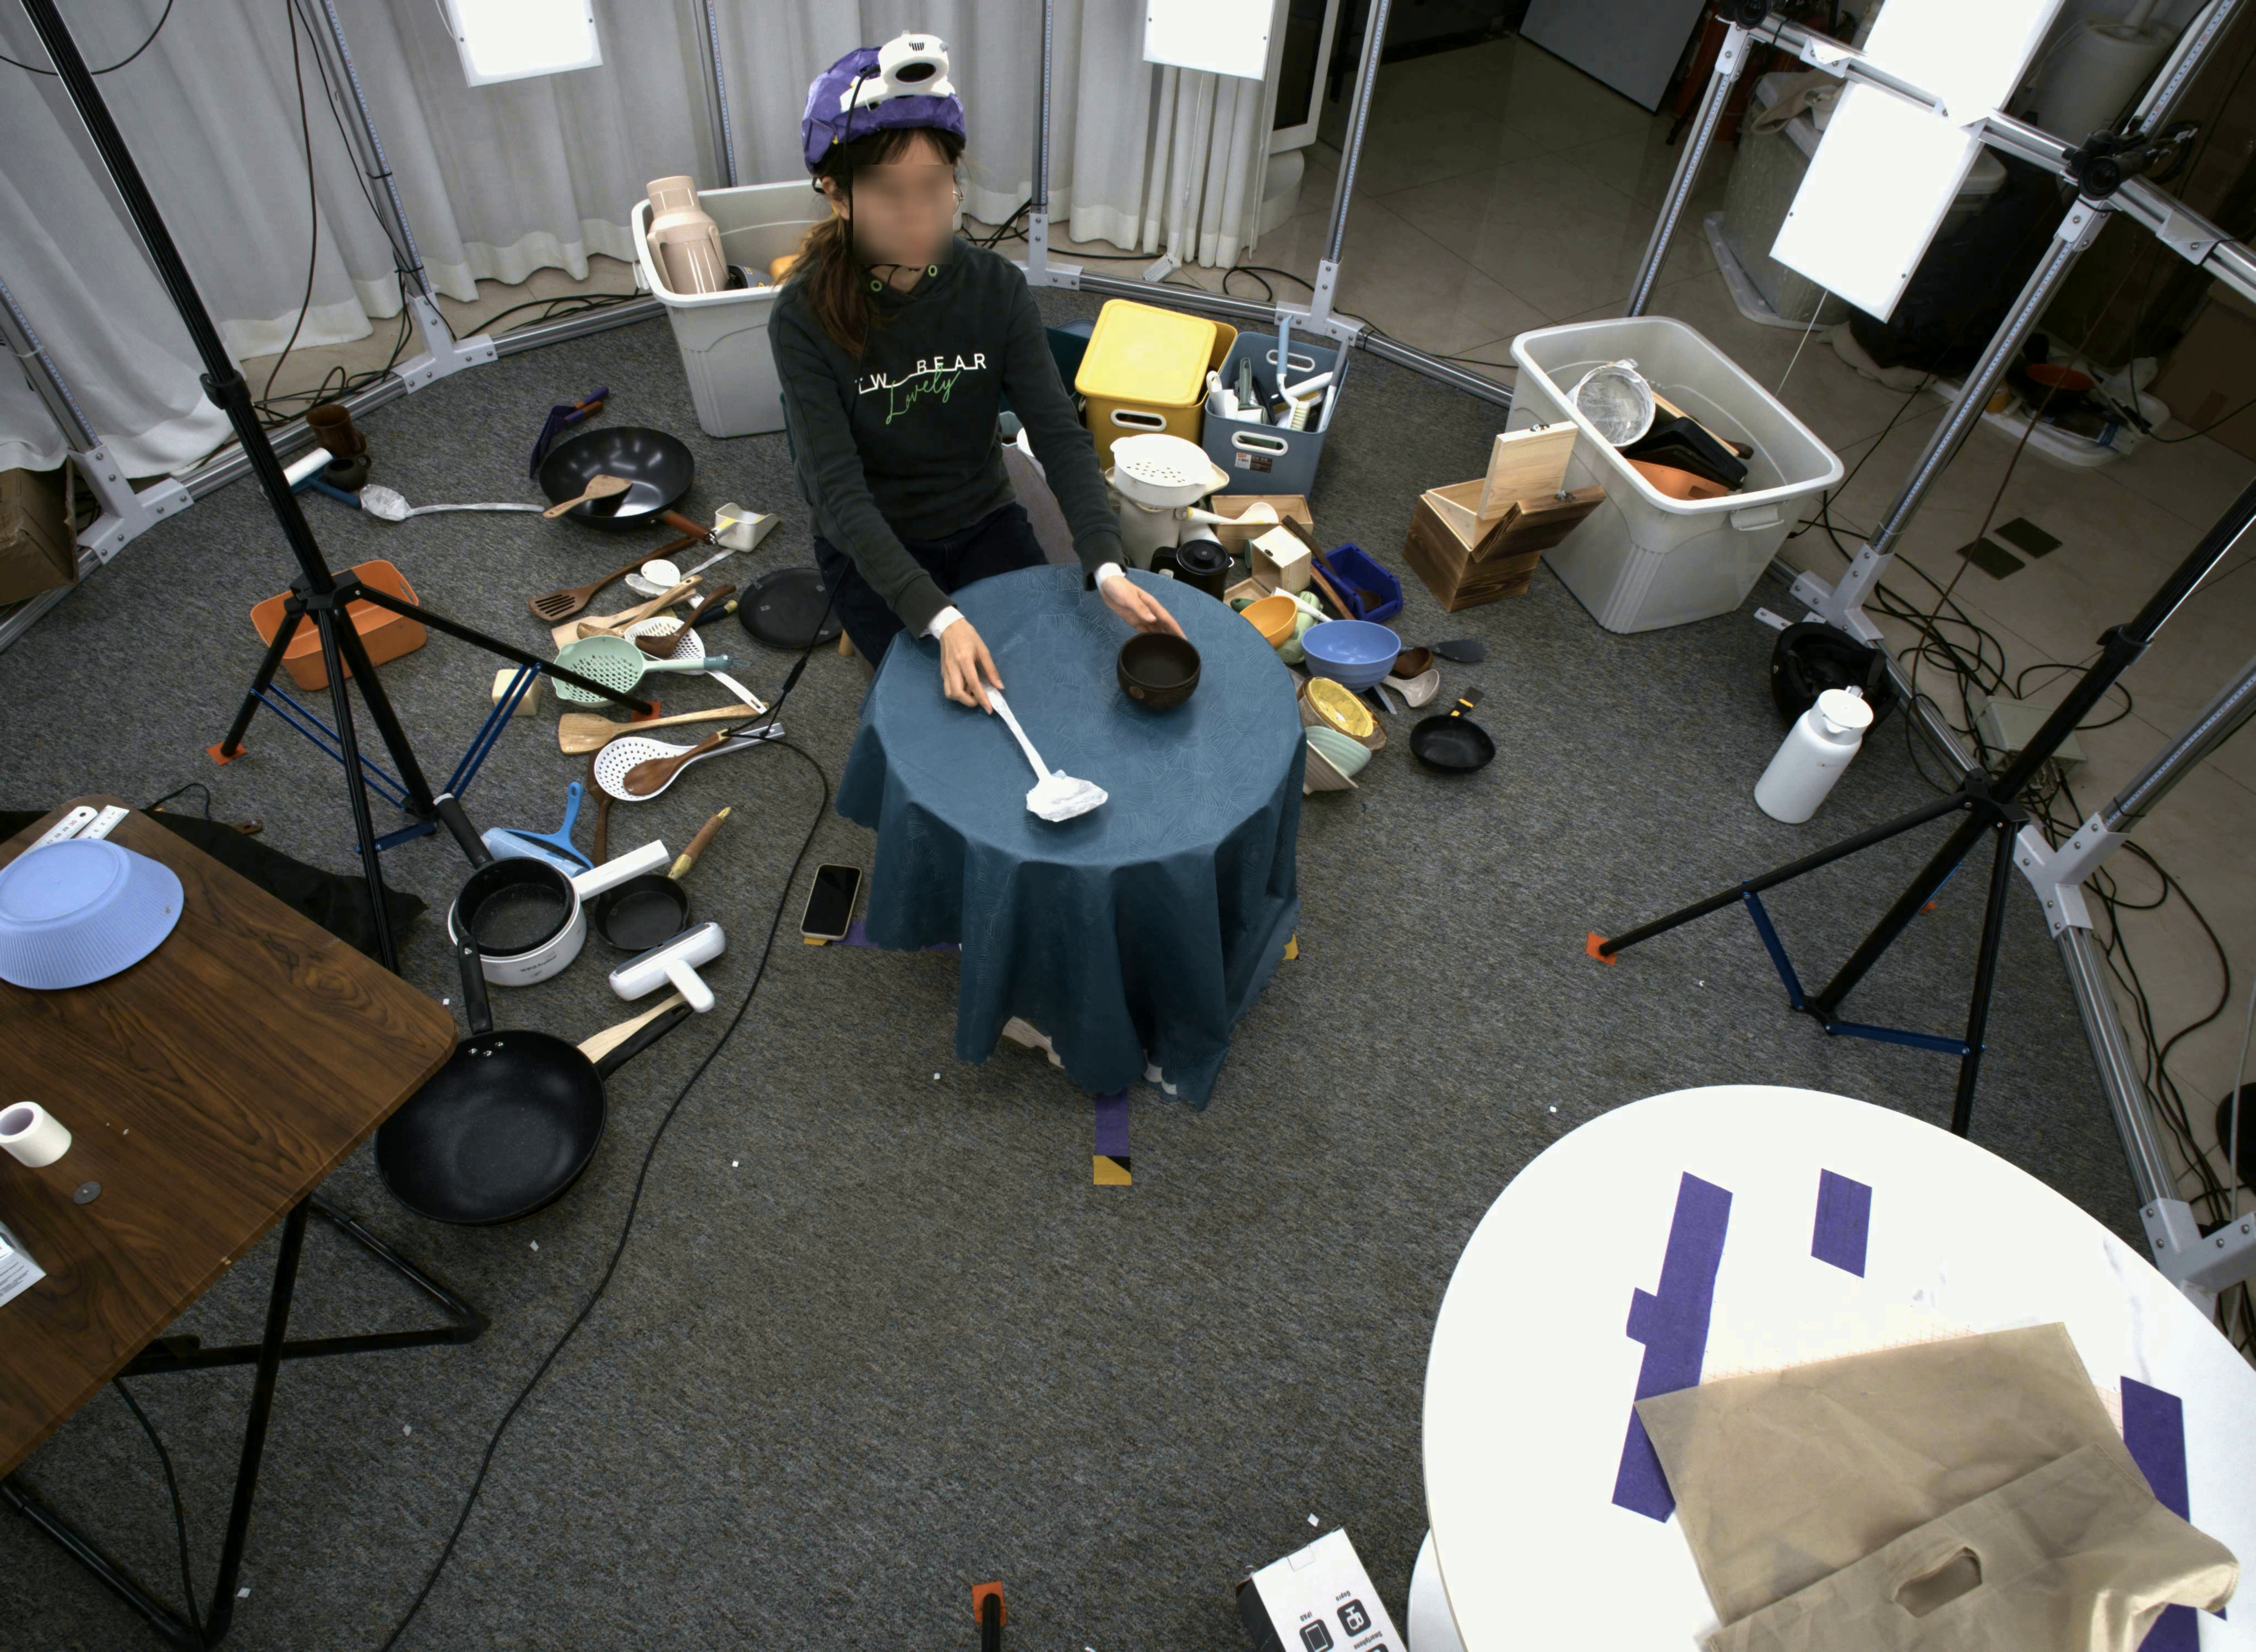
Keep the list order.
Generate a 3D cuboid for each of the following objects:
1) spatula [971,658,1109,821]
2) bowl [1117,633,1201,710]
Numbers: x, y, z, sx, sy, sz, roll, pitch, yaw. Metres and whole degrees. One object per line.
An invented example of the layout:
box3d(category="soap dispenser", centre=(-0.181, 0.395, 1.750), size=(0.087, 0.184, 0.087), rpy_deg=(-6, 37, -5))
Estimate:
box3d(category="spatula", centre=(-0.144, -0.129, 1.762), size=(0.099, 0.043, 0.373), rpy_deg=(-21, 53, -18))
box3d(category="bowl", centre=(0.043, -0.212, 1.825), size=(0.118, 0.068, 0.121), rpy_deg=(3, 47, -3))
